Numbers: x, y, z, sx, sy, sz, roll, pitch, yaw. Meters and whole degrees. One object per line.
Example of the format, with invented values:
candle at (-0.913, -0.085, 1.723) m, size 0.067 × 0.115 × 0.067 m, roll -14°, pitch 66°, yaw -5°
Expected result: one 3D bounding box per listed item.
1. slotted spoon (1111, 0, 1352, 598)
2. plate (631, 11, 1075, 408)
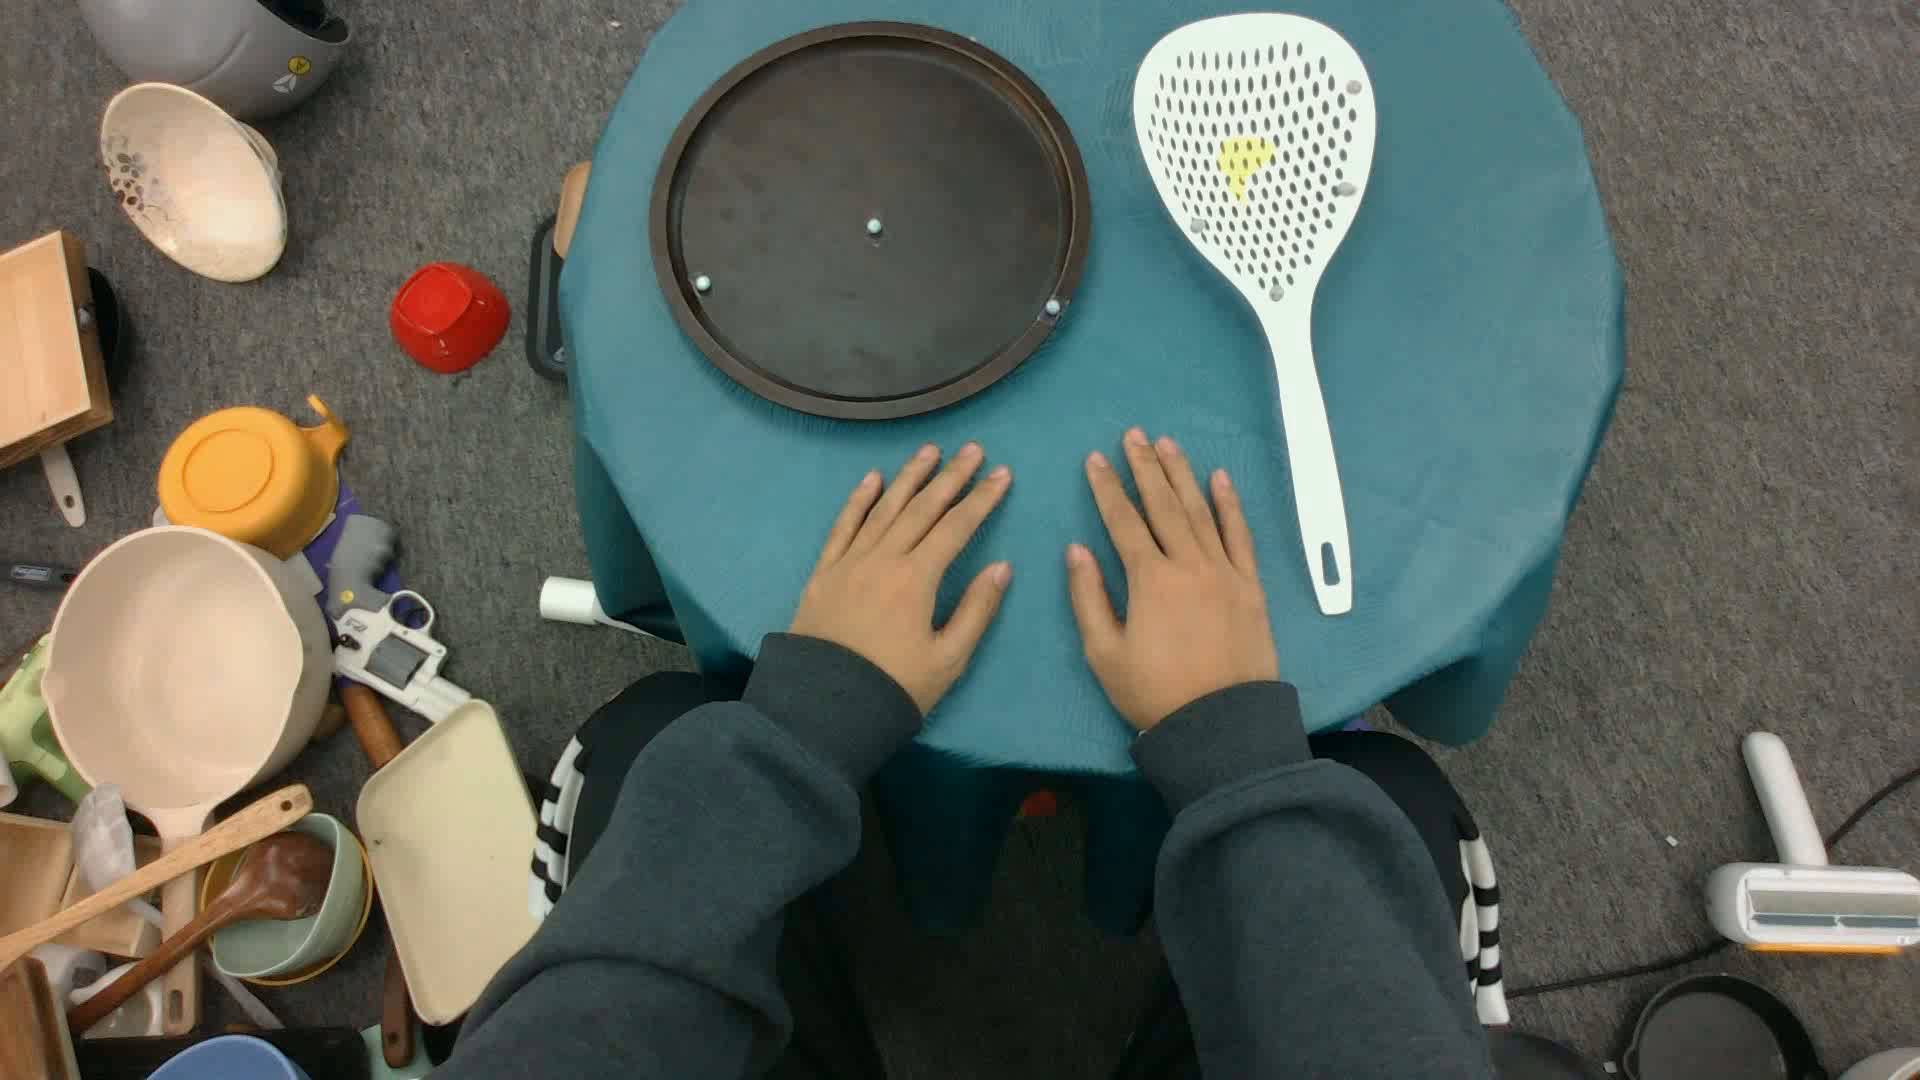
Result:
slotted spoon at (0.168, -0.140, 0.764) m, size 0.137 × 0.050 × 0.348 m, roll -7°, pitch 73°, yaw -4°
plate at (-0.061, -0.192, 0.791) m, size 0.255 × 0.029 × 0.255 m, roll 0°, pitch 74°, yaw -1°
